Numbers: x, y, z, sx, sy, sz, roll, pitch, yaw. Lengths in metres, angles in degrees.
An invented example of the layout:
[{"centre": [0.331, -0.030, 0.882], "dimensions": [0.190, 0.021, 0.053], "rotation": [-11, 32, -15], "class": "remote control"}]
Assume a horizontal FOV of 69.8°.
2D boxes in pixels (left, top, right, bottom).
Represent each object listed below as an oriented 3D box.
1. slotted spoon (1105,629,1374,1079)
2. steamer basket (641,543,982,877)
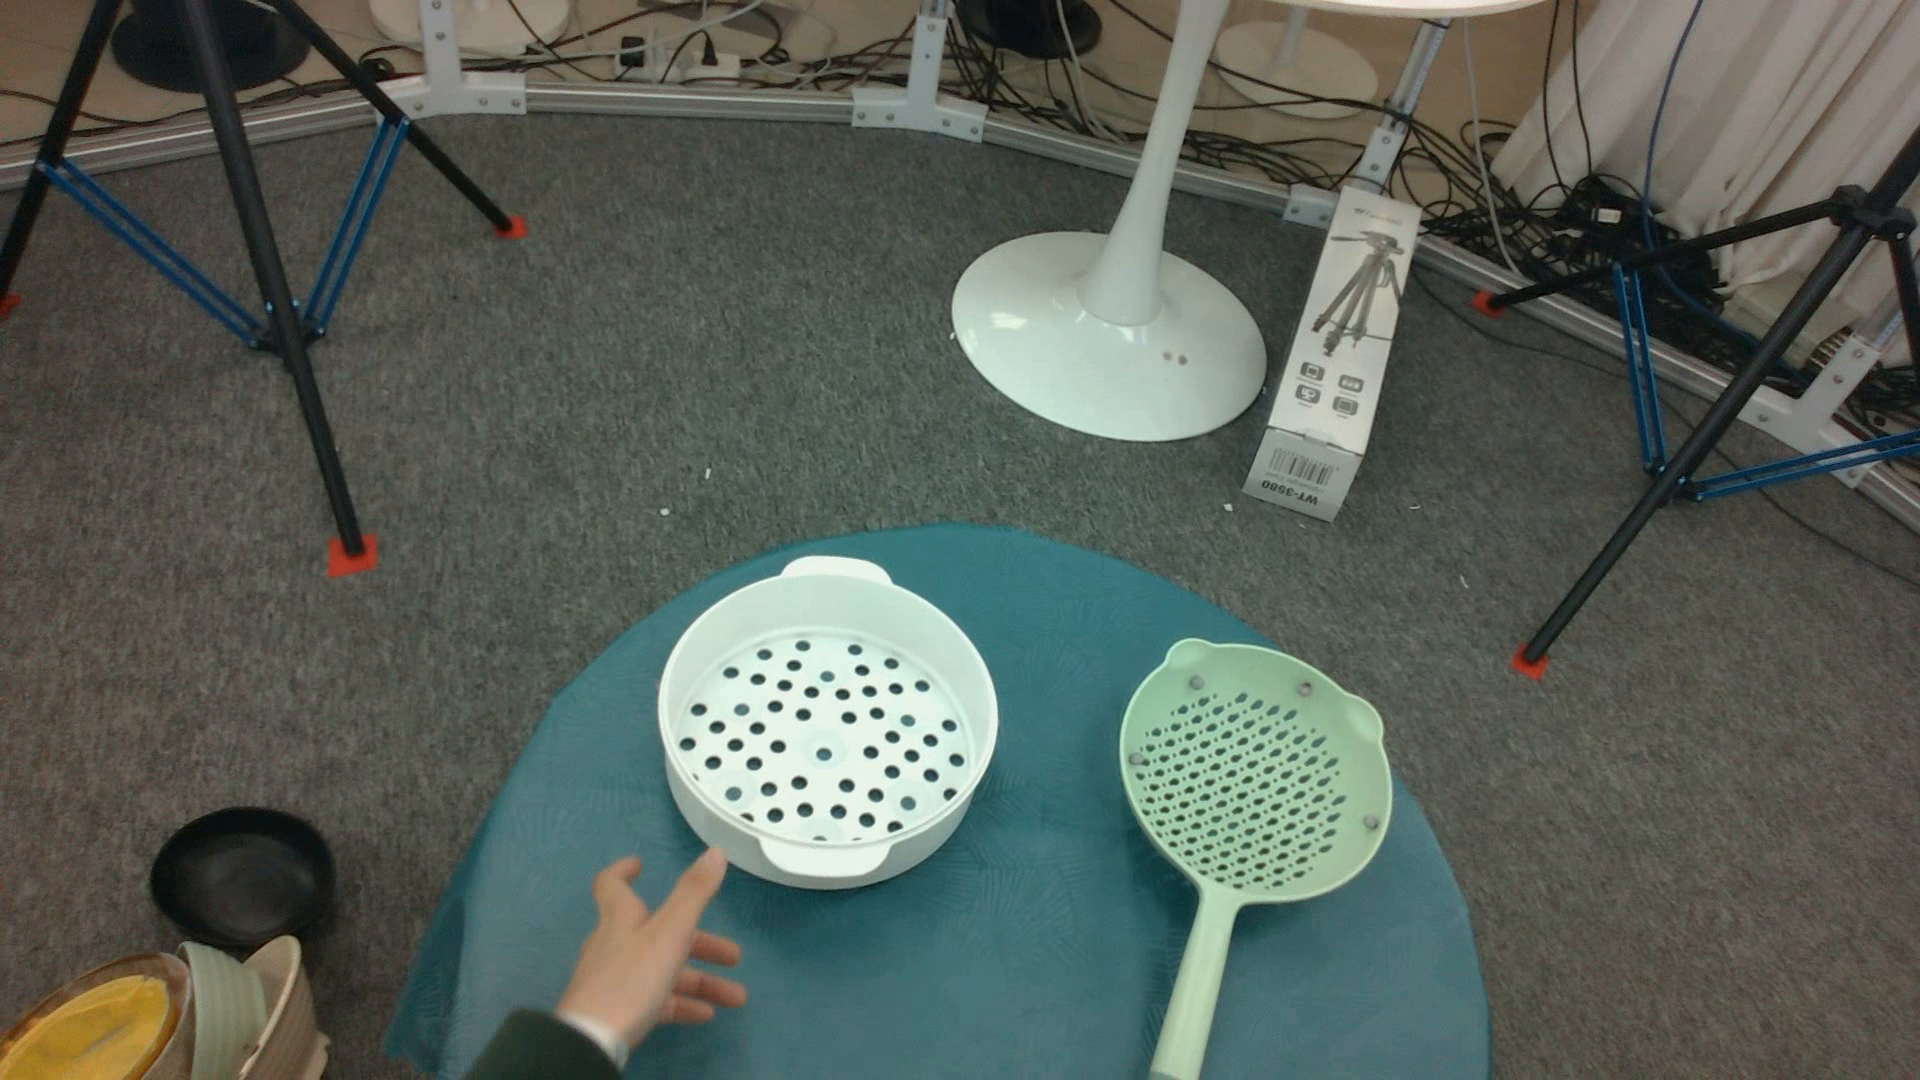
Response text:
[{"centre": [0.137, 0.211, 0.797], "dimensions": [0.169, 0.075, 0.361], "rotation": [20, 47, 6], "class": "slotted spoon"}, {"centre": [-0.090, 0.107, 0.840], "dimensions": [0.202, 0.069, 0.231], "rotation": [3, 48, -9], "class": "steamer basket"}]
